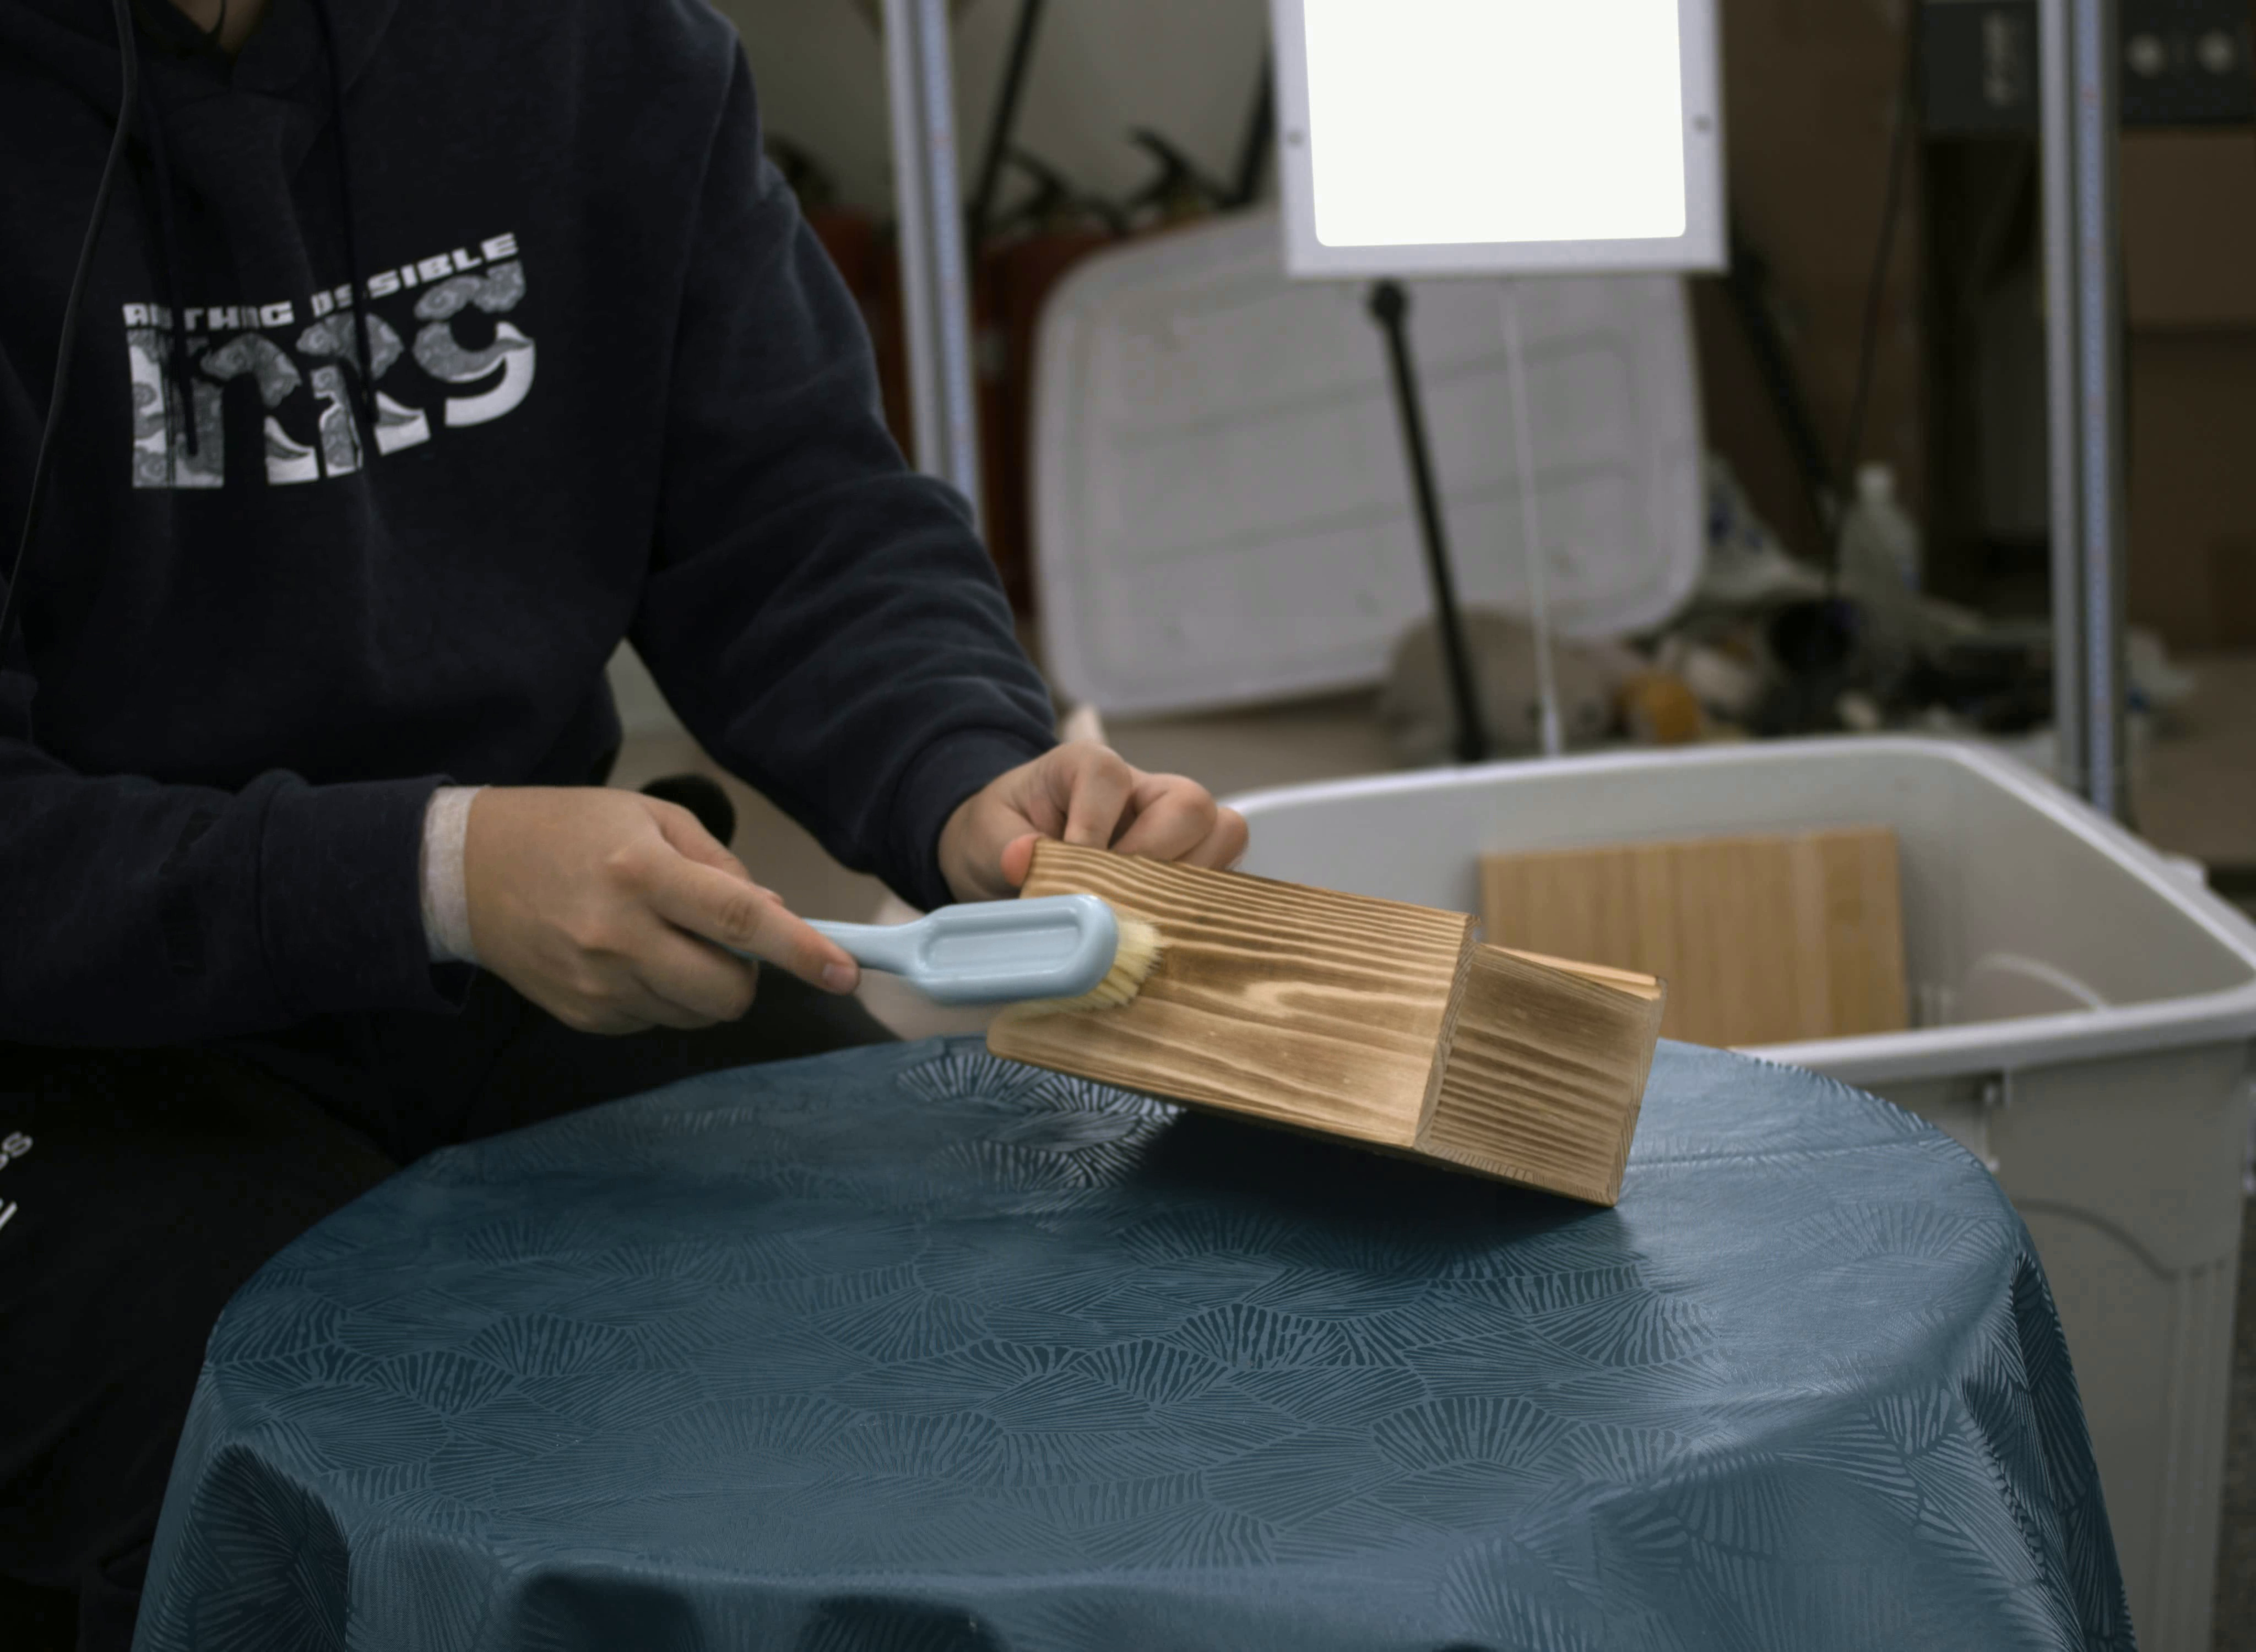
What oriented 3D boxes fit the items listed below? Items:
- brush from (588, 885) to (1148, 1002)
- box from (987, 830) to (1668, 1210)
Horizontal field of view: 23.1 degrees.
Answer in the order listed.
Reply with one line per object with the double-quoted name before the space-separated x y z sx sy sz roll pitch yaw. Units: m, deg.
"brush" -0.095 0.045 1.926 0.233 0.038 0.049 -3 -16 32
"box" 0.066 0.065 1.882 0.105 0.080 0.216 18 -5 -42
